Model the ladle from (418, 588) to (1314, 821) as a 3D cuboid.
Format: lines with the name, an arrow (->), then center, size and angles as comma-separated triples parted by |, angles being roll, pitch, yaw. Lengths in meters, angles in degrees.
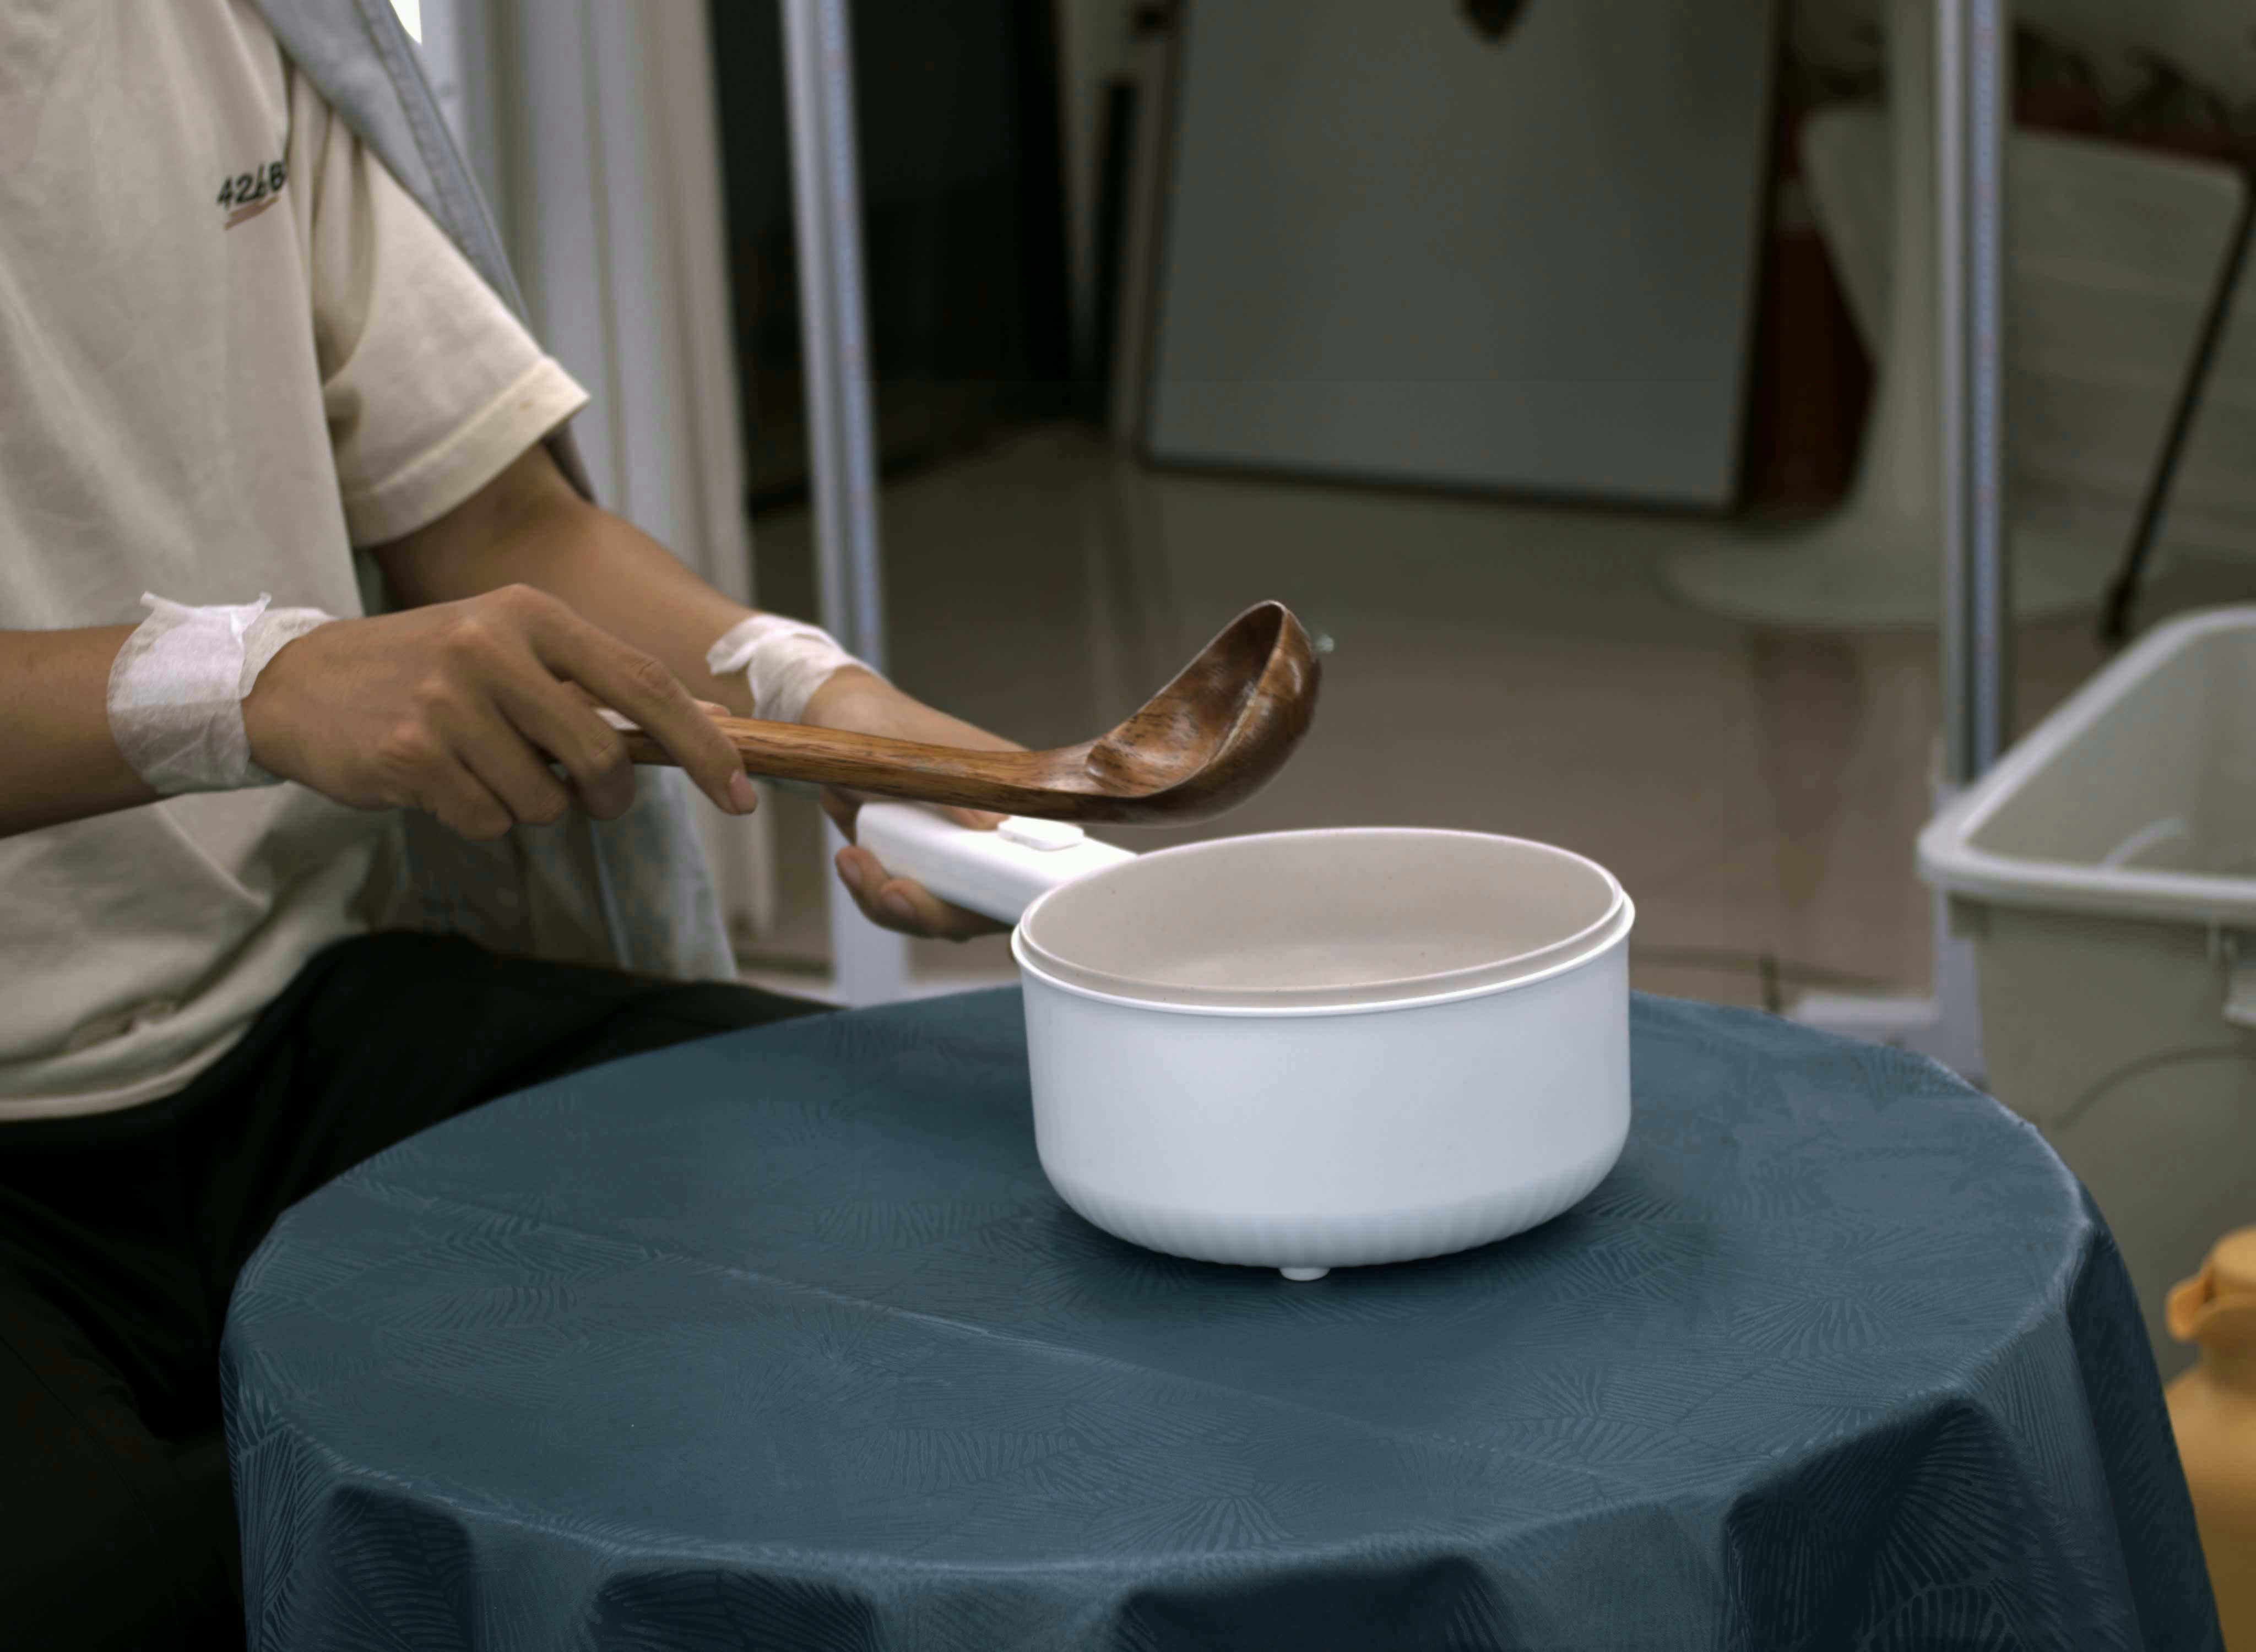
ladle -> -0.080, -0.047, 1.638 | 0.271, 0.077, 0.082 | 7, 19, 3

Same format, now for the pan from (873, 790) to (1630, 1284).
pan -> 0.022, 0.062, 1.800 | 0.197, 0.103, 0.358 | -13, 16, -31
